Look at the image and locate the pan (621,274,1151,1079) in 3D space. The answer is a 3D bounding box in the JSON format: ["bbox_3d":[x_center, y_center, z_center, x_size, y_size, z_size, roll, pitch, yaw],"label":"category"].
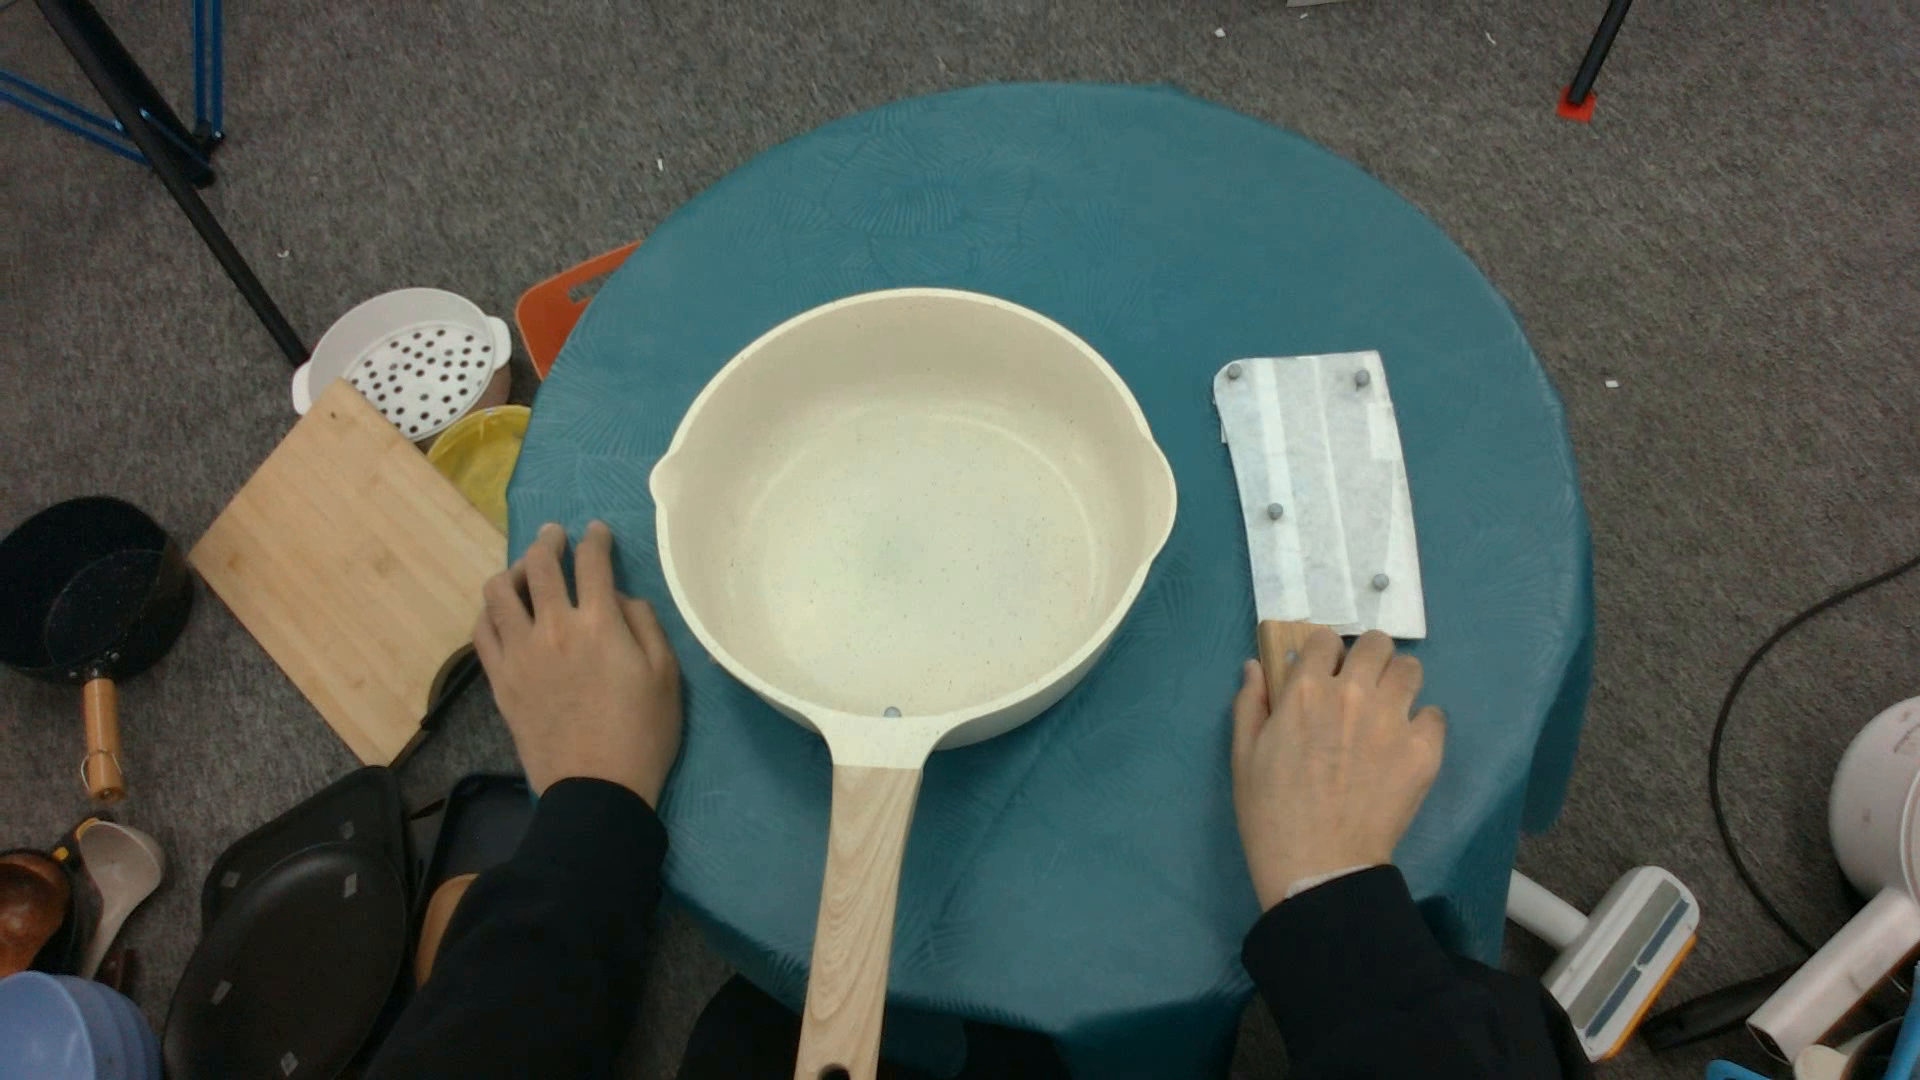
[{"bbox_3d":[-0.041,0.064,0.665,0.263,0.101,0.436,2,62,1],"label":"pan"}]

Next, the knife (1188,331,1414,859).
[{"bbox_3d":[0.181,0.013,0.728,0.114,0.021,0.317,3,59,2],"label":"knife"}]
